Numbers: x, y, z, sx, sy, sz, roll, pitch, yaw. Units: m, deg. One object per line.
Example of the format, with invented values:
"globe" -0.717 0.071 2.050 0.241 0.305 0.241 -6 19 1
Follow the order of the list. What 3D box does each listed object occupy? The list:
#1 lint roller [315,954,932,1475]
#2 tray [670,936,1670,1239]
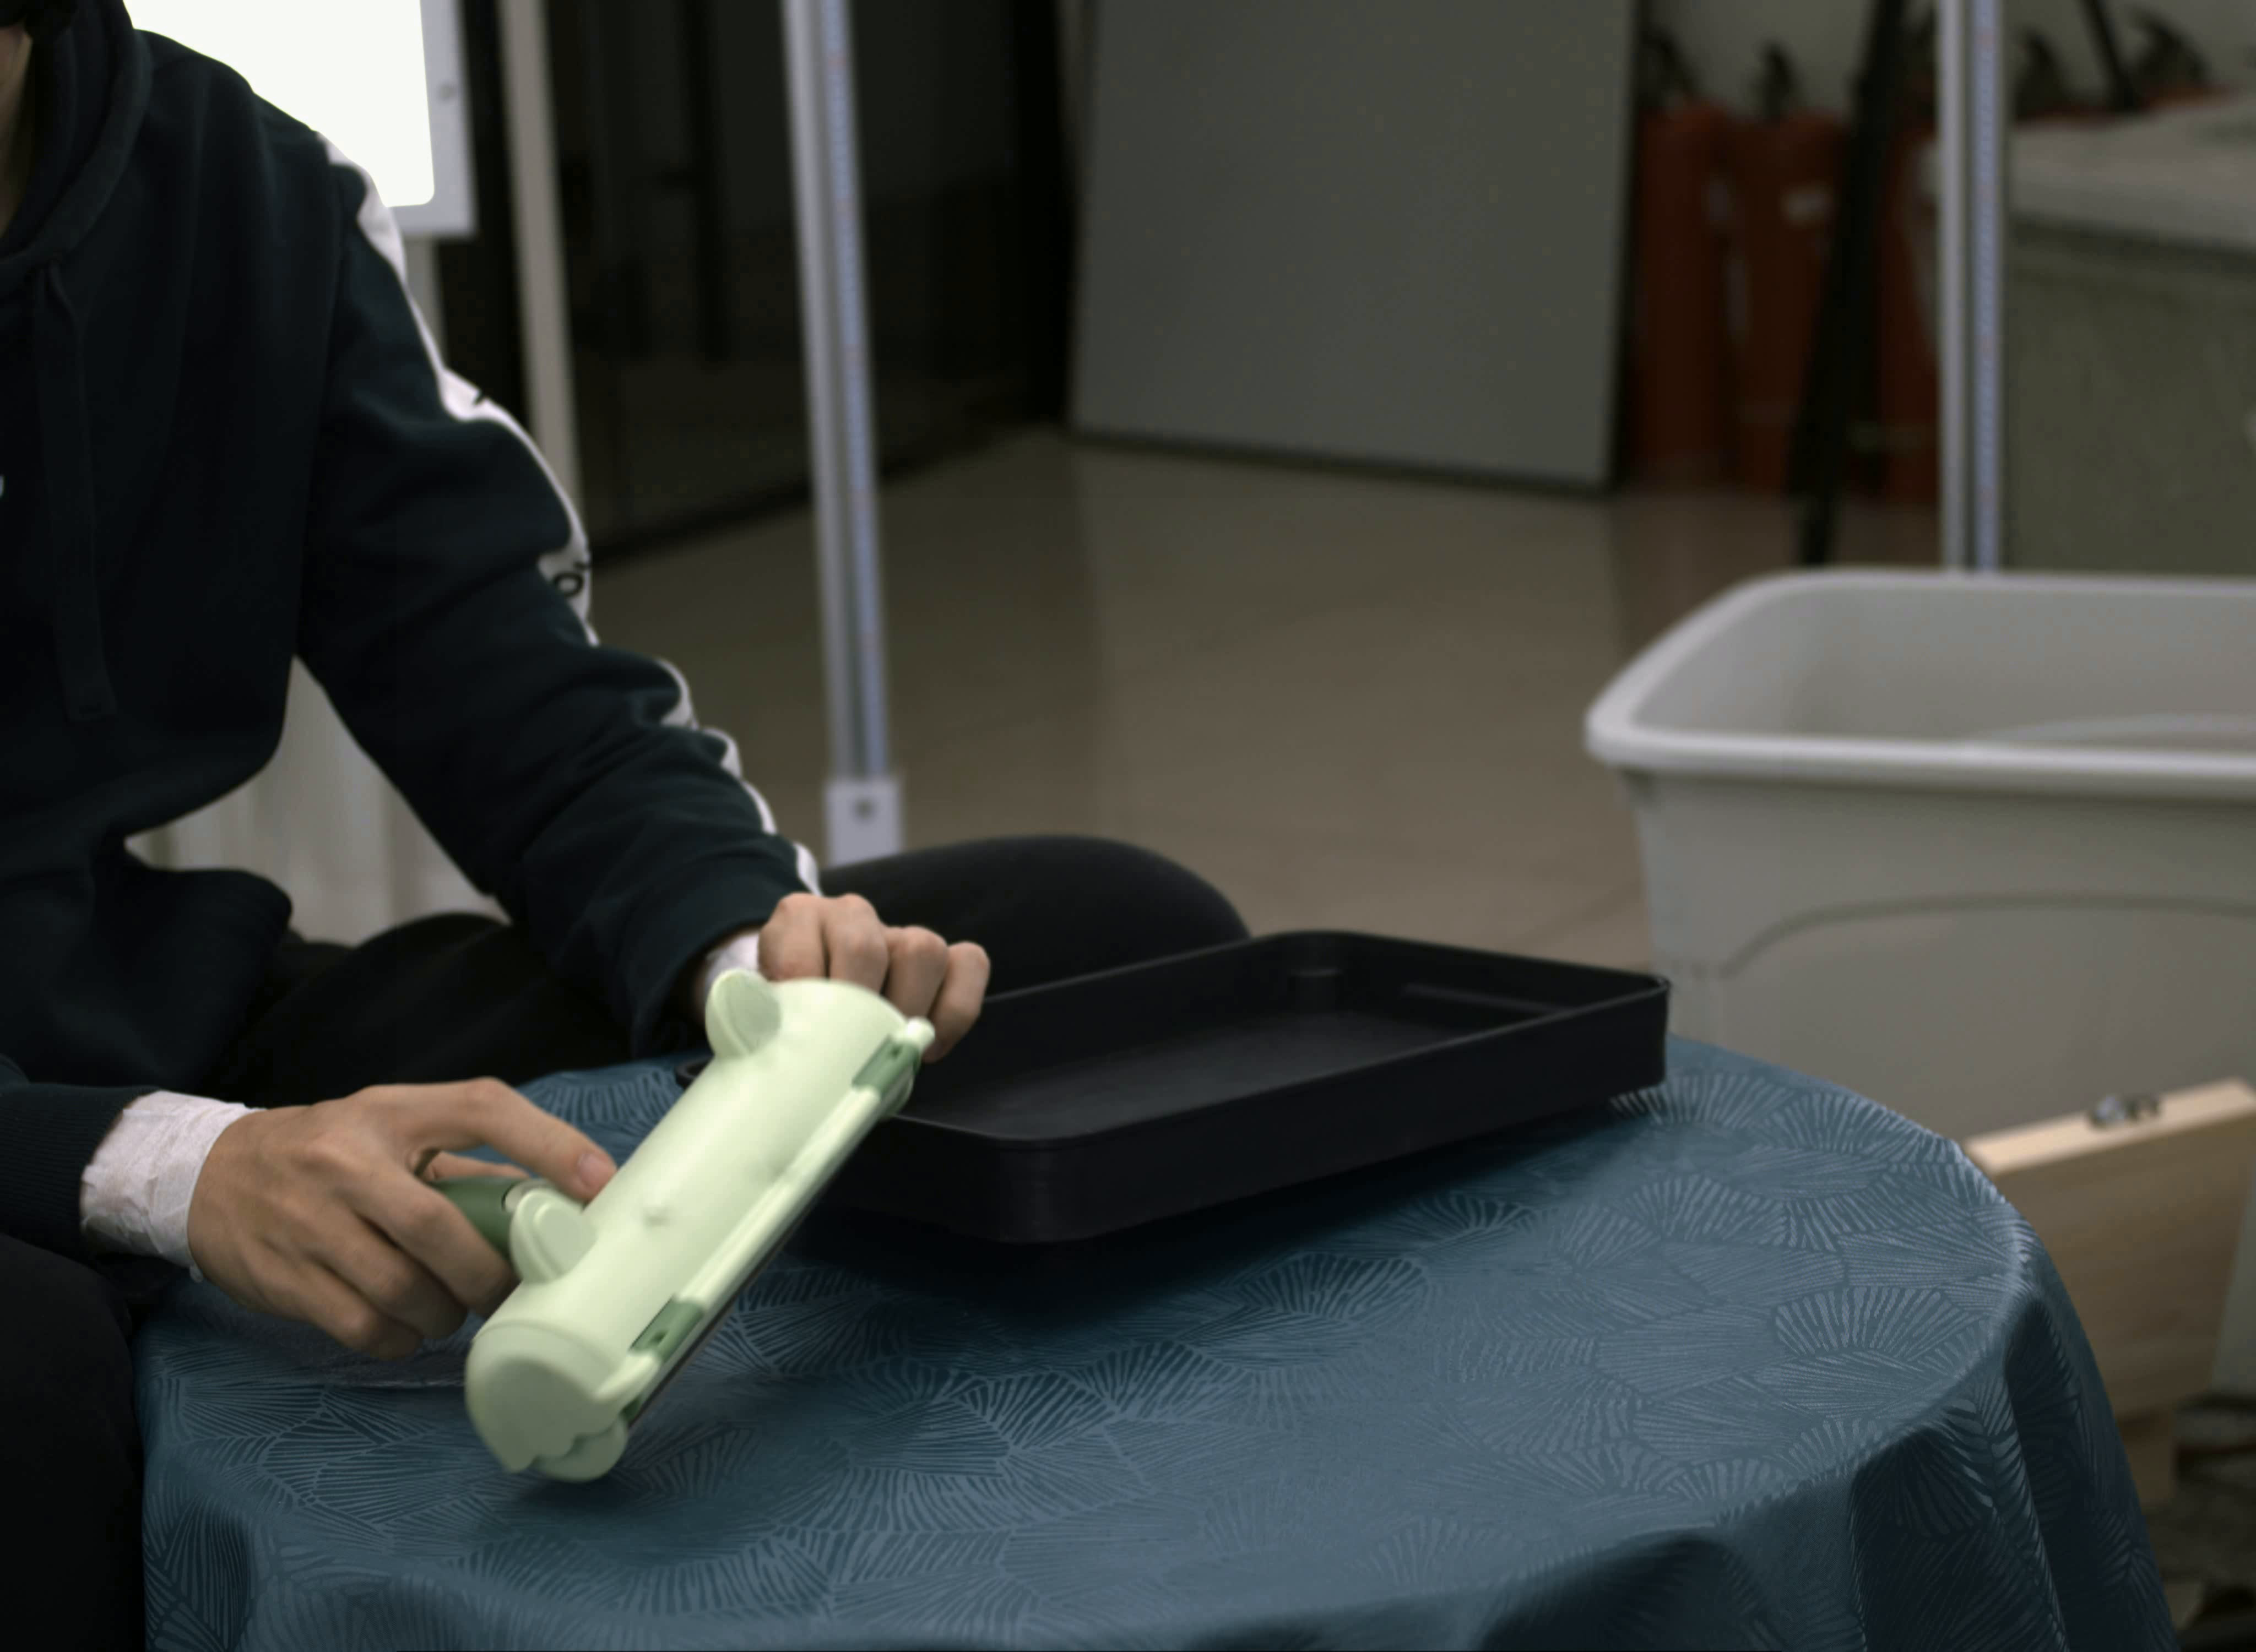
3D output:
"lint roller" -0.175 0.104 1.606 0.184 0.082 0.197 2 33 29
"tray" 0.019 0.082 1.780 0.311 0.037 0.186 -10 11 -43
